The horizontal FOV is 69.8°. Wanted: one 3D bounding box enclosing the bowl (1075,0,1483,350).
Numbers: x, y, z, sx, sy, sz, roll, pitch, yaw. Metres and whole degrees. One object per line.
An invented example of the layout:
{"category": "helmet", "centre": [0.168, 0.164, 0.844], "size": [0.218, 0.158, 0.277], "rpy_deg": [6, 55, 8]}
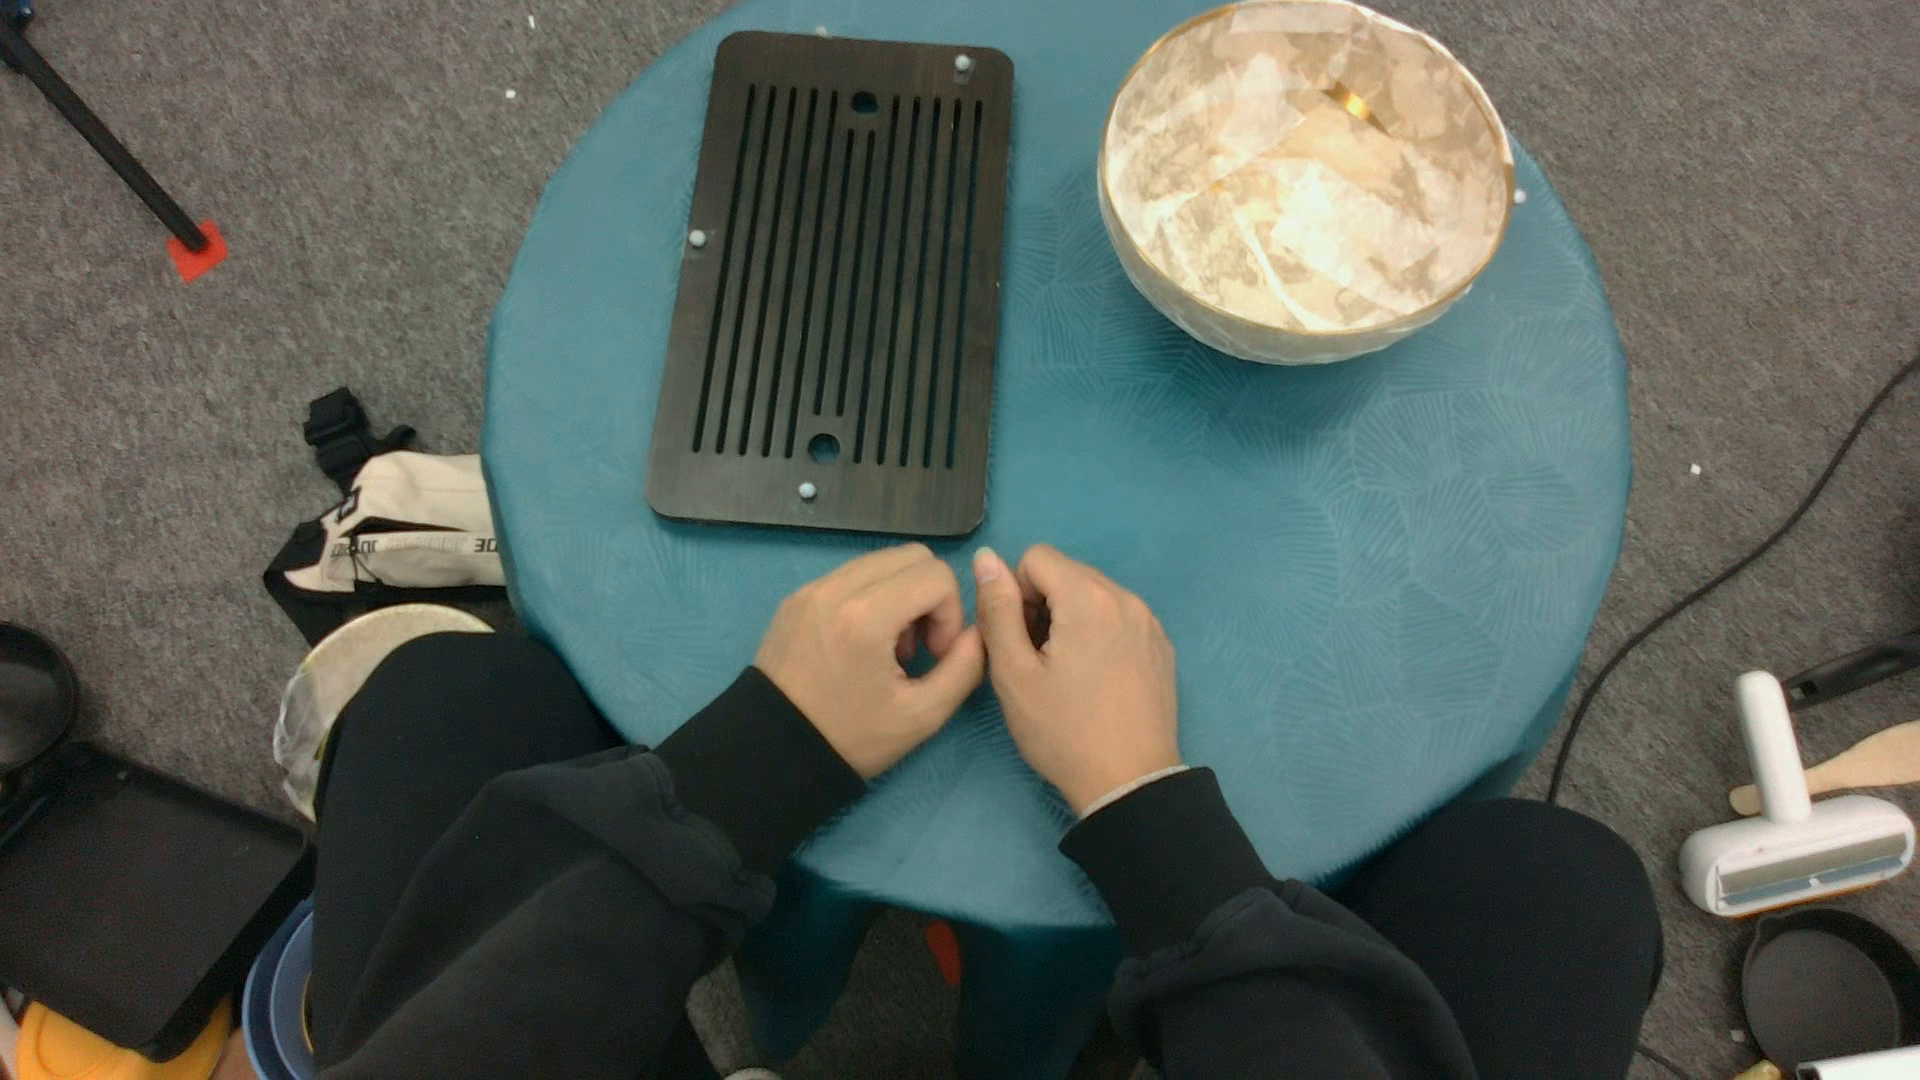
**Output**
{"category": "bowl", "centre": [0.152, -0.177, 0.714], "size": [0.215, 0.094, 0.215], "rpy_deg": [1, 68, -3]}

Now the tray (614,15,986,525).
{"category": "tray", "centre": [-0.078, -0.152, 0.736], "size": [0.170, 0.018, 0.307], "rpy_deg": [4, 68, -1]}
